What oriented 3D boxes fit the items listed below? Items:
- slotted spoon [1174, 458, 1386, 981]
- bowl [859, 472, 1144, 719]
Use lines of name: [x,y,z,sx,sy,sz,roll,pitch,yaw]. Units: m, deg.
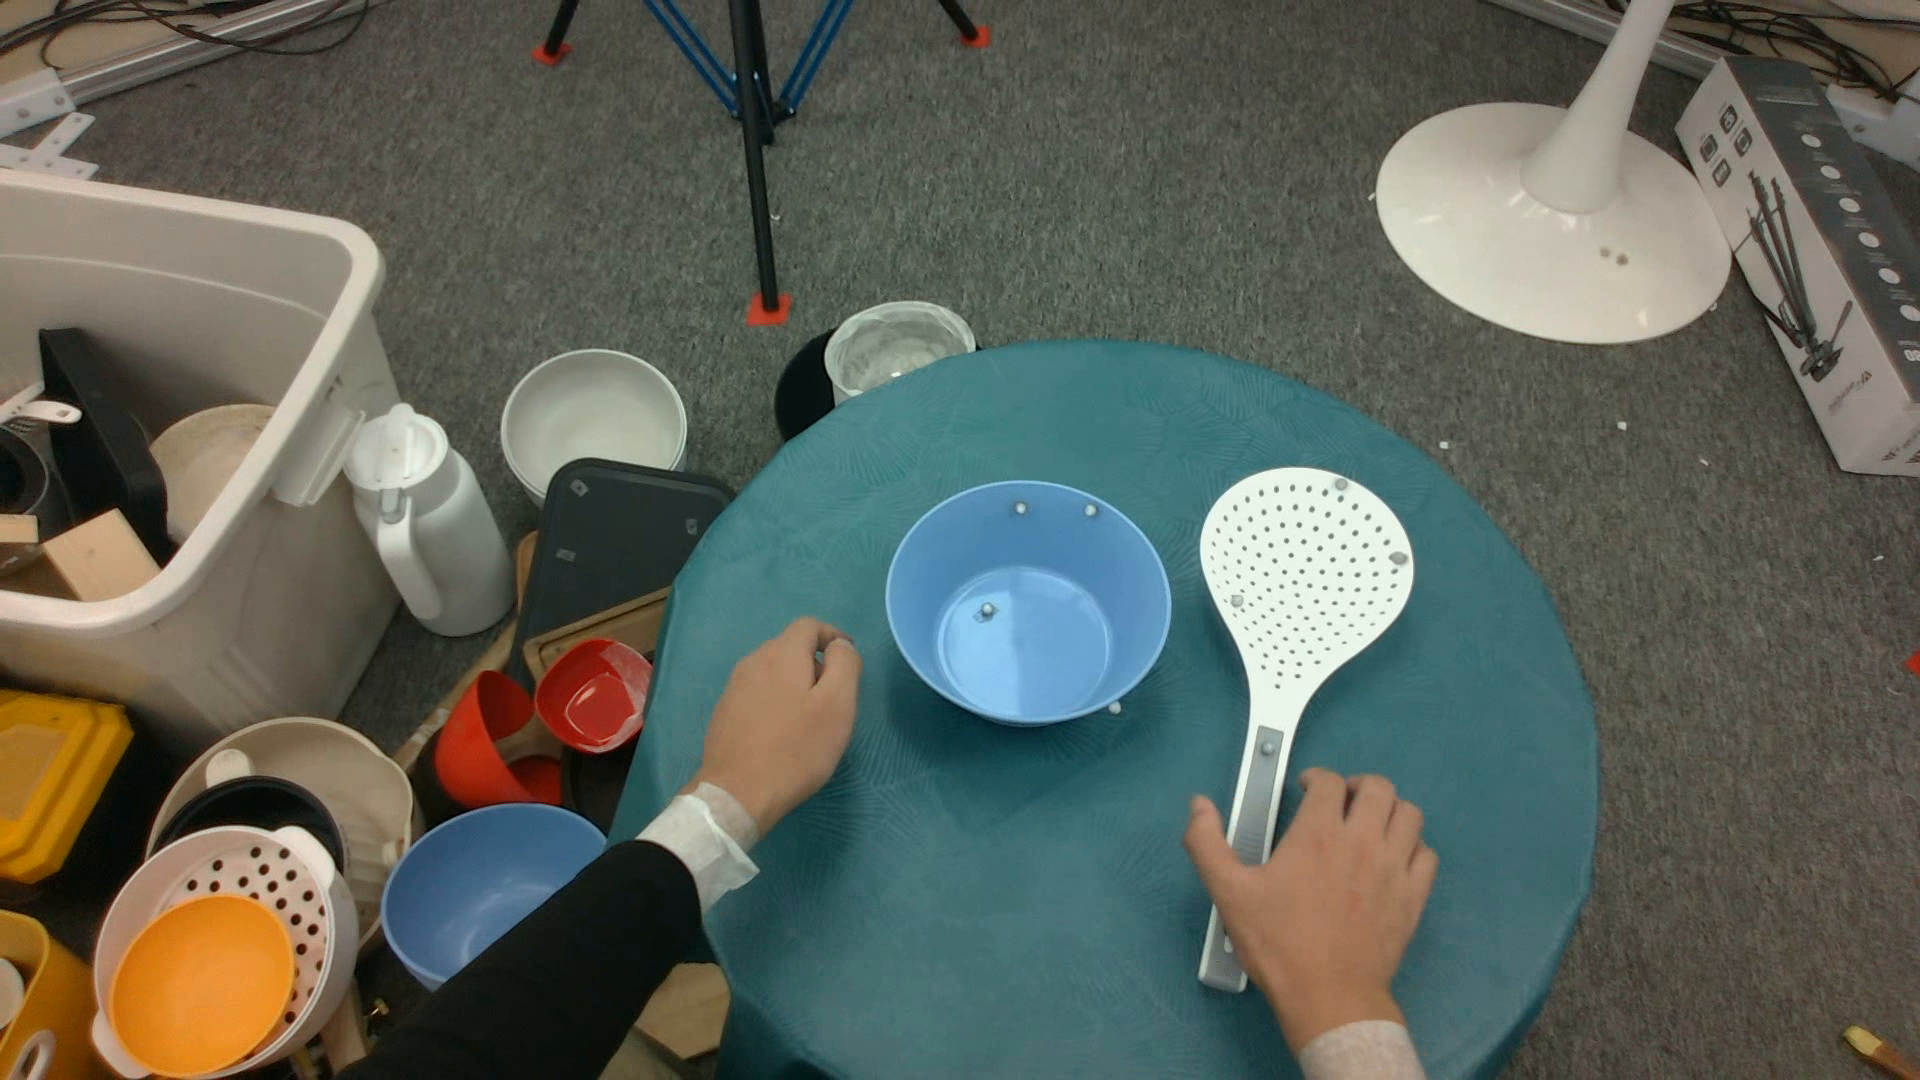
slotted spoon: [0.181,0.099,0.856,0.136,0.045,0.351,14,57,7]
bowl: [0.025,0.046,0.870,0.176,0.070,0.177,1,56,-1]
